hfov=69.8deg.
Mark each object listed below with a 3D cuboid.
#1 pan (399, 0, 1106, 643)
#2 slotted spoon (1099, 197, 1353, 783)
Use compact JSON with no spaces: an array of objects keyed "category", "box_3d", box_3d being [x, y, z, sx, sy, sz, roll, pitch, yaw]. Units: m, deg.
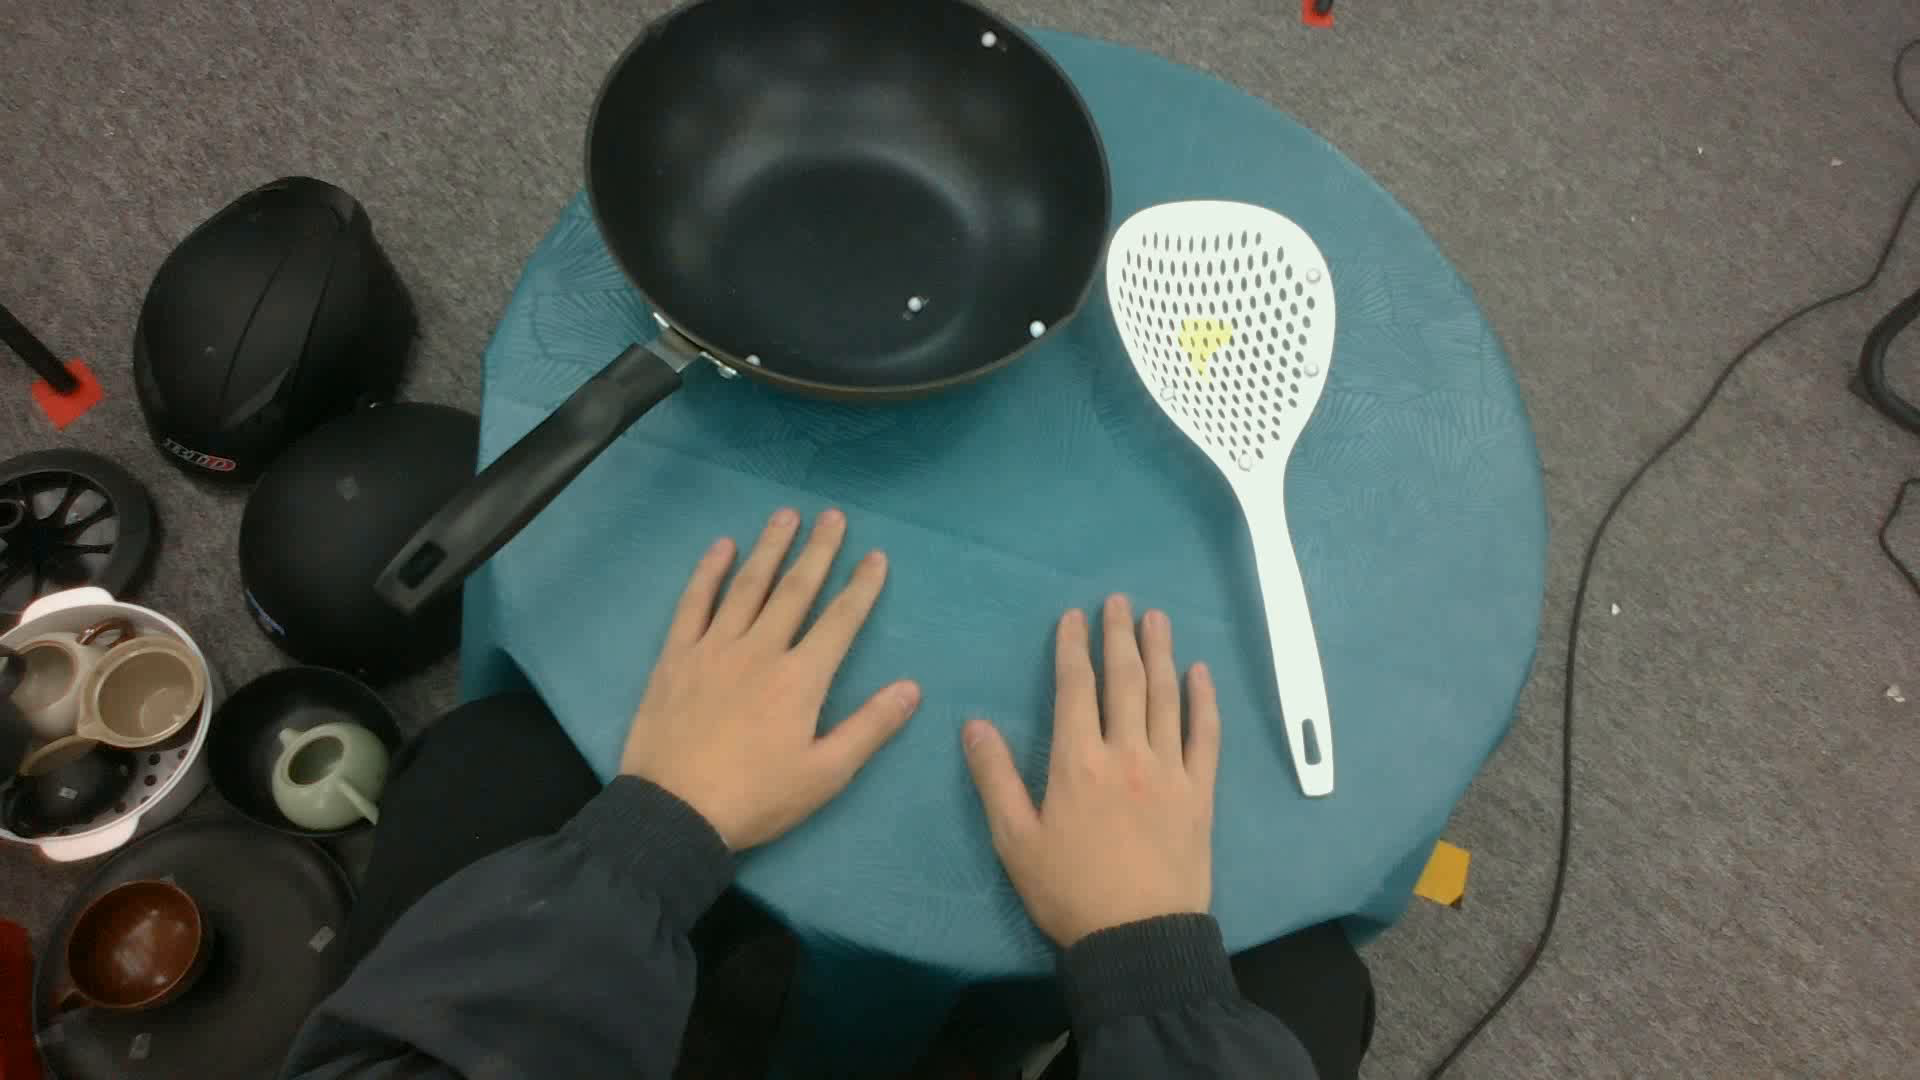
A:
[{"category":"pan","box_3d":[-0.114,-0.109,0.749,0.288,0.086,0.465,33,66,11]},{"category":"slotted spoon","box_3d":[0.164,-0.039,0.767,0.137,0.050,0.349,-6,65,-10]}]
